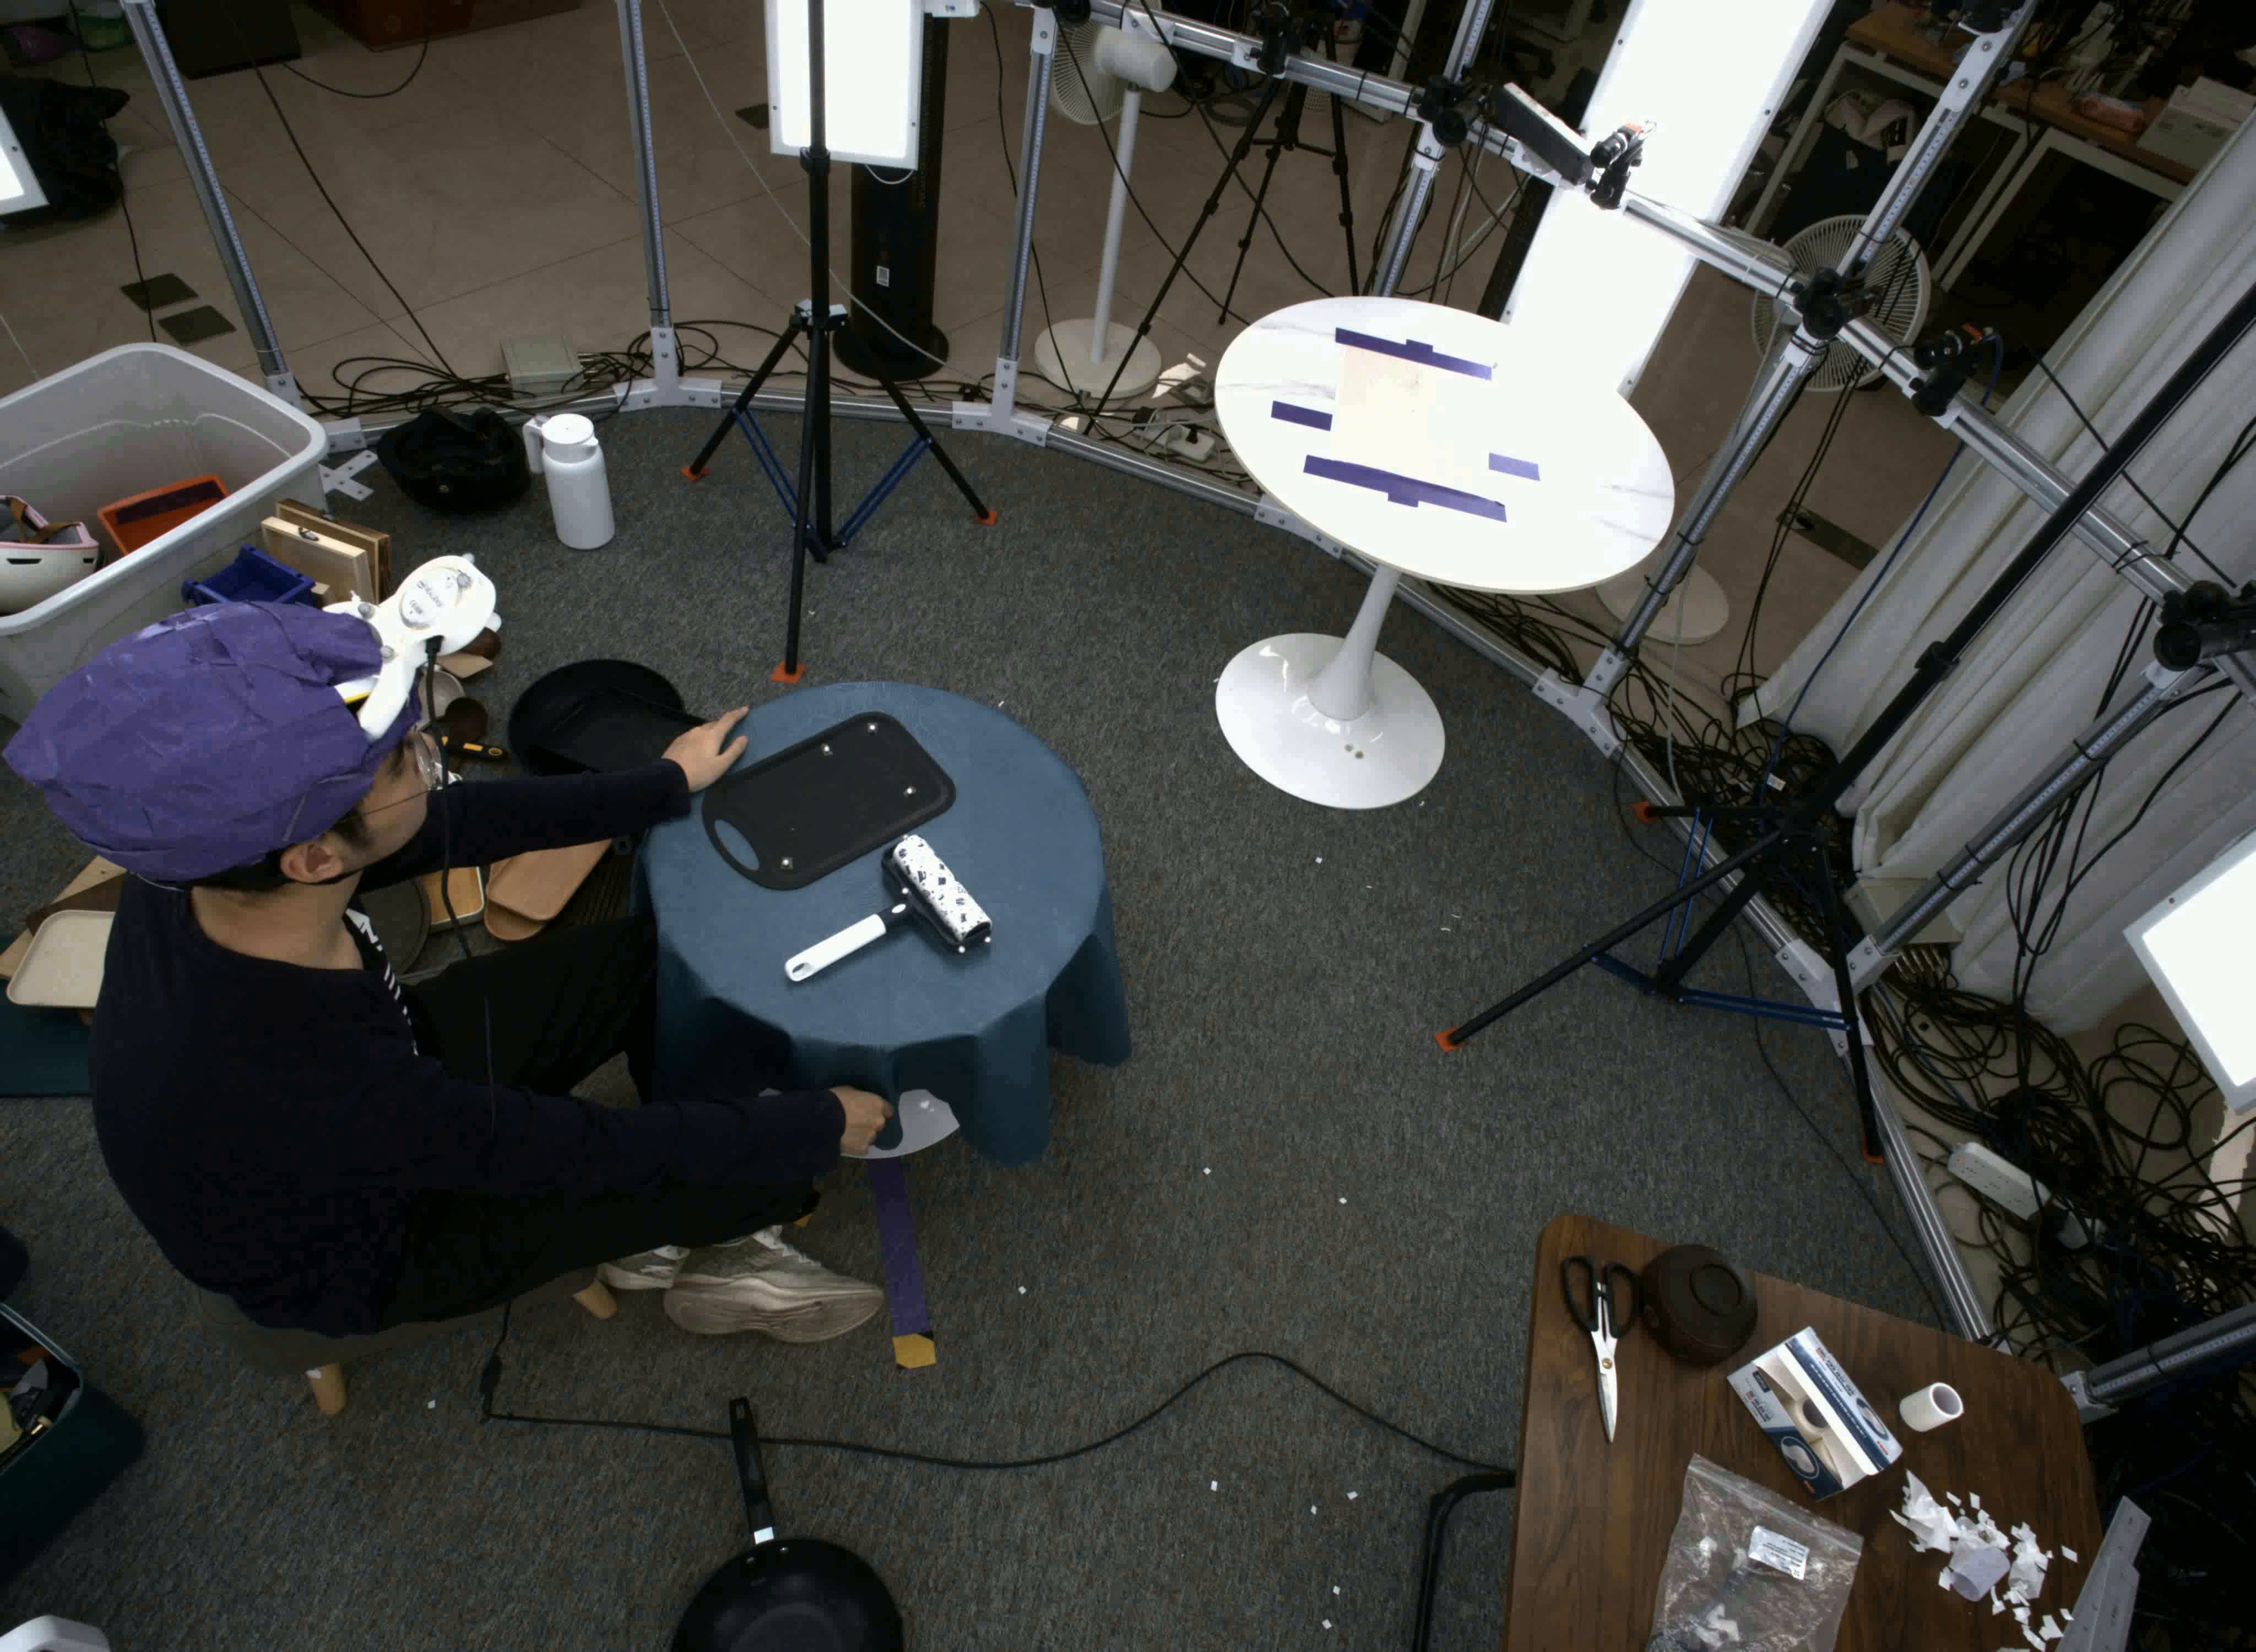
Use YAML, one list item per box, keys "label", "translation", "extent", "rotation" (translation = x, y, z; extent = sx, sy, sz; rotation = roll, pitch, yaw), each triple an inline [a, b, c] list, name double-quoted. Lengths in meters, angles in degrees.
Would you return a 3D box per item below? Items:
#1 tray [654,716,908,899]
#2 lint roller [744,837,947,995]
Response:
- label: "tray"
  translation: [-0.470, -0.029, 1.741]
  extent: [0.326, 0.010, 0.206]
  rotation: [-33, 67, -32]
- label: "lint roller"
  translation: [-0.371, 0.131, 1.625]
  extent: [0.247, 0.051, 0.172]
  rotation: [-34, 69, -29]
